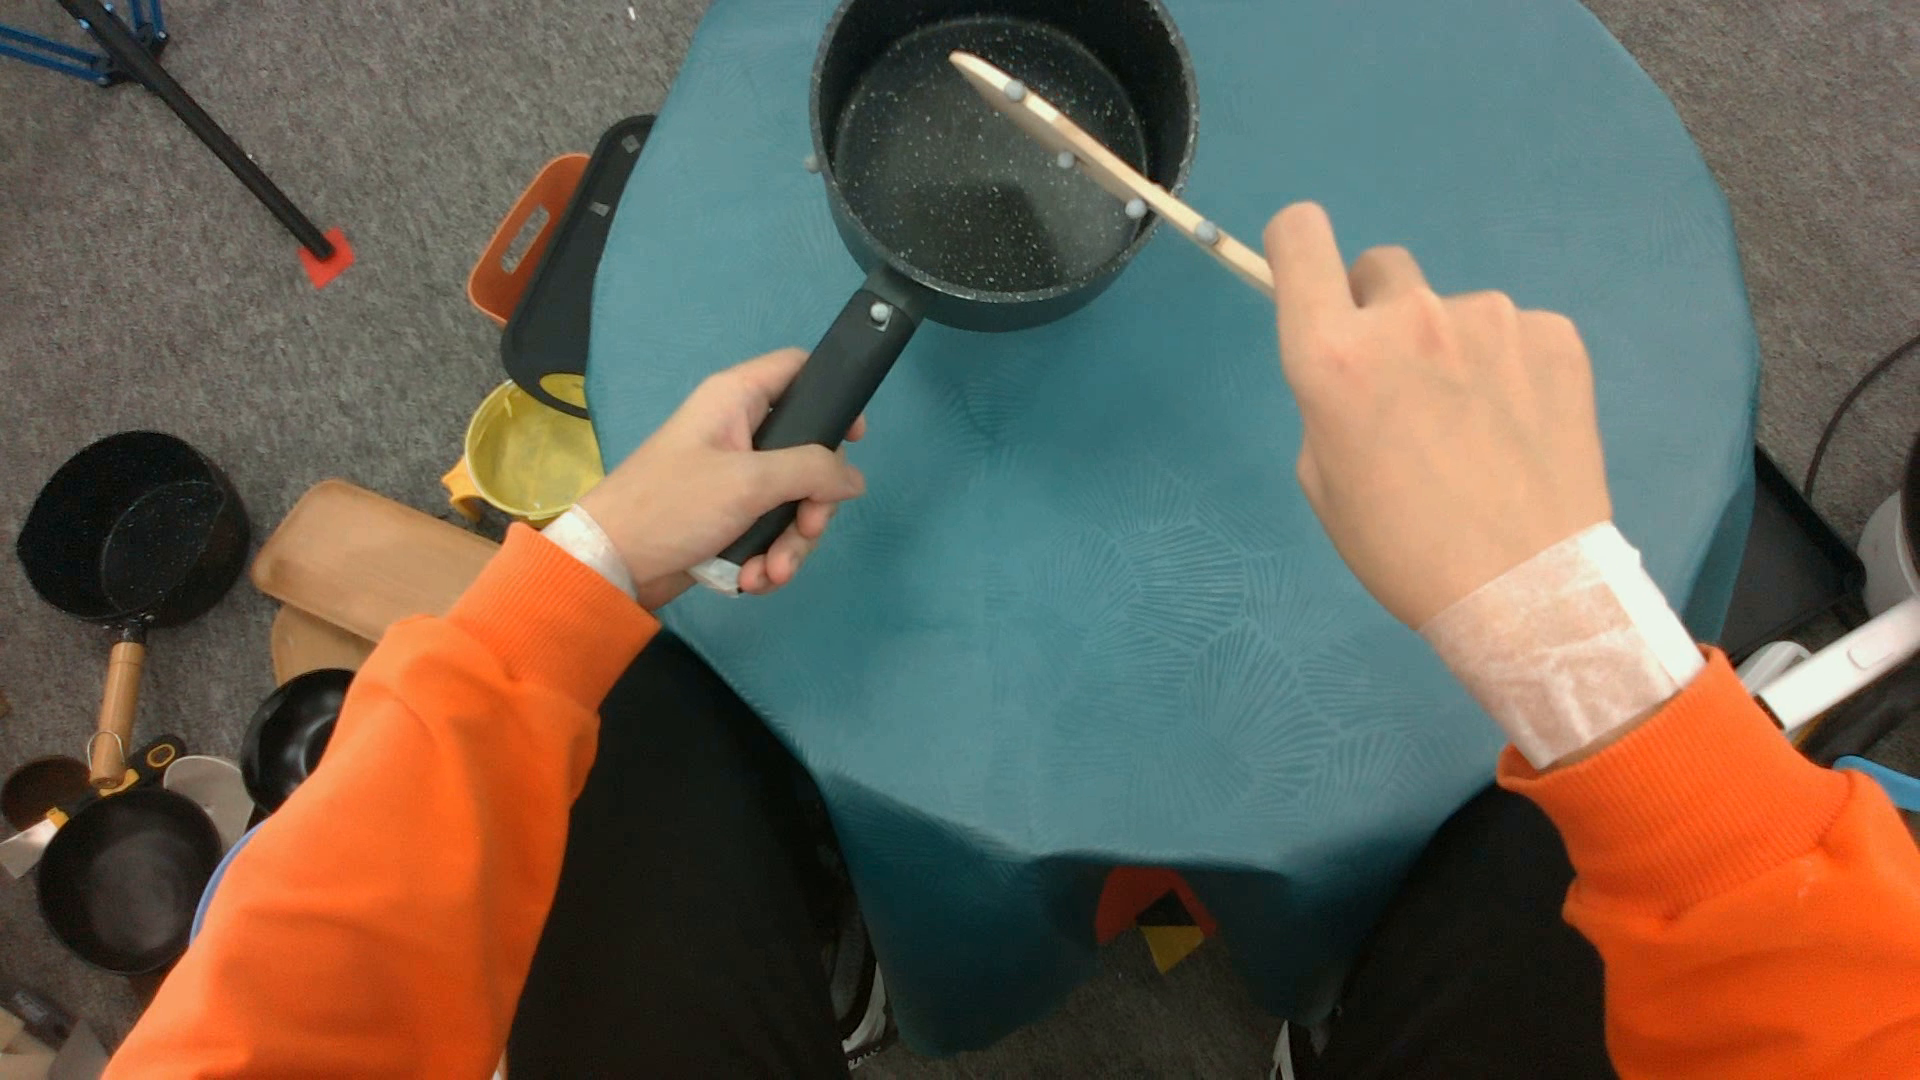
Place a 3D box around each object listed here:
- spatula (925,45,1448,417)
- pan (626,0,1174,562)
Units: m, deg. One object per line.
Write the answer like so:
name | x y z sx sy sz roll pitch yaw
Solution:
spatula | 0.077 -0.126 0.531 0.010 0.072 0.293 -50 49 8
pan | -0.036 -0.127 0.624 0.172 0.086 0.329 34 81 1
